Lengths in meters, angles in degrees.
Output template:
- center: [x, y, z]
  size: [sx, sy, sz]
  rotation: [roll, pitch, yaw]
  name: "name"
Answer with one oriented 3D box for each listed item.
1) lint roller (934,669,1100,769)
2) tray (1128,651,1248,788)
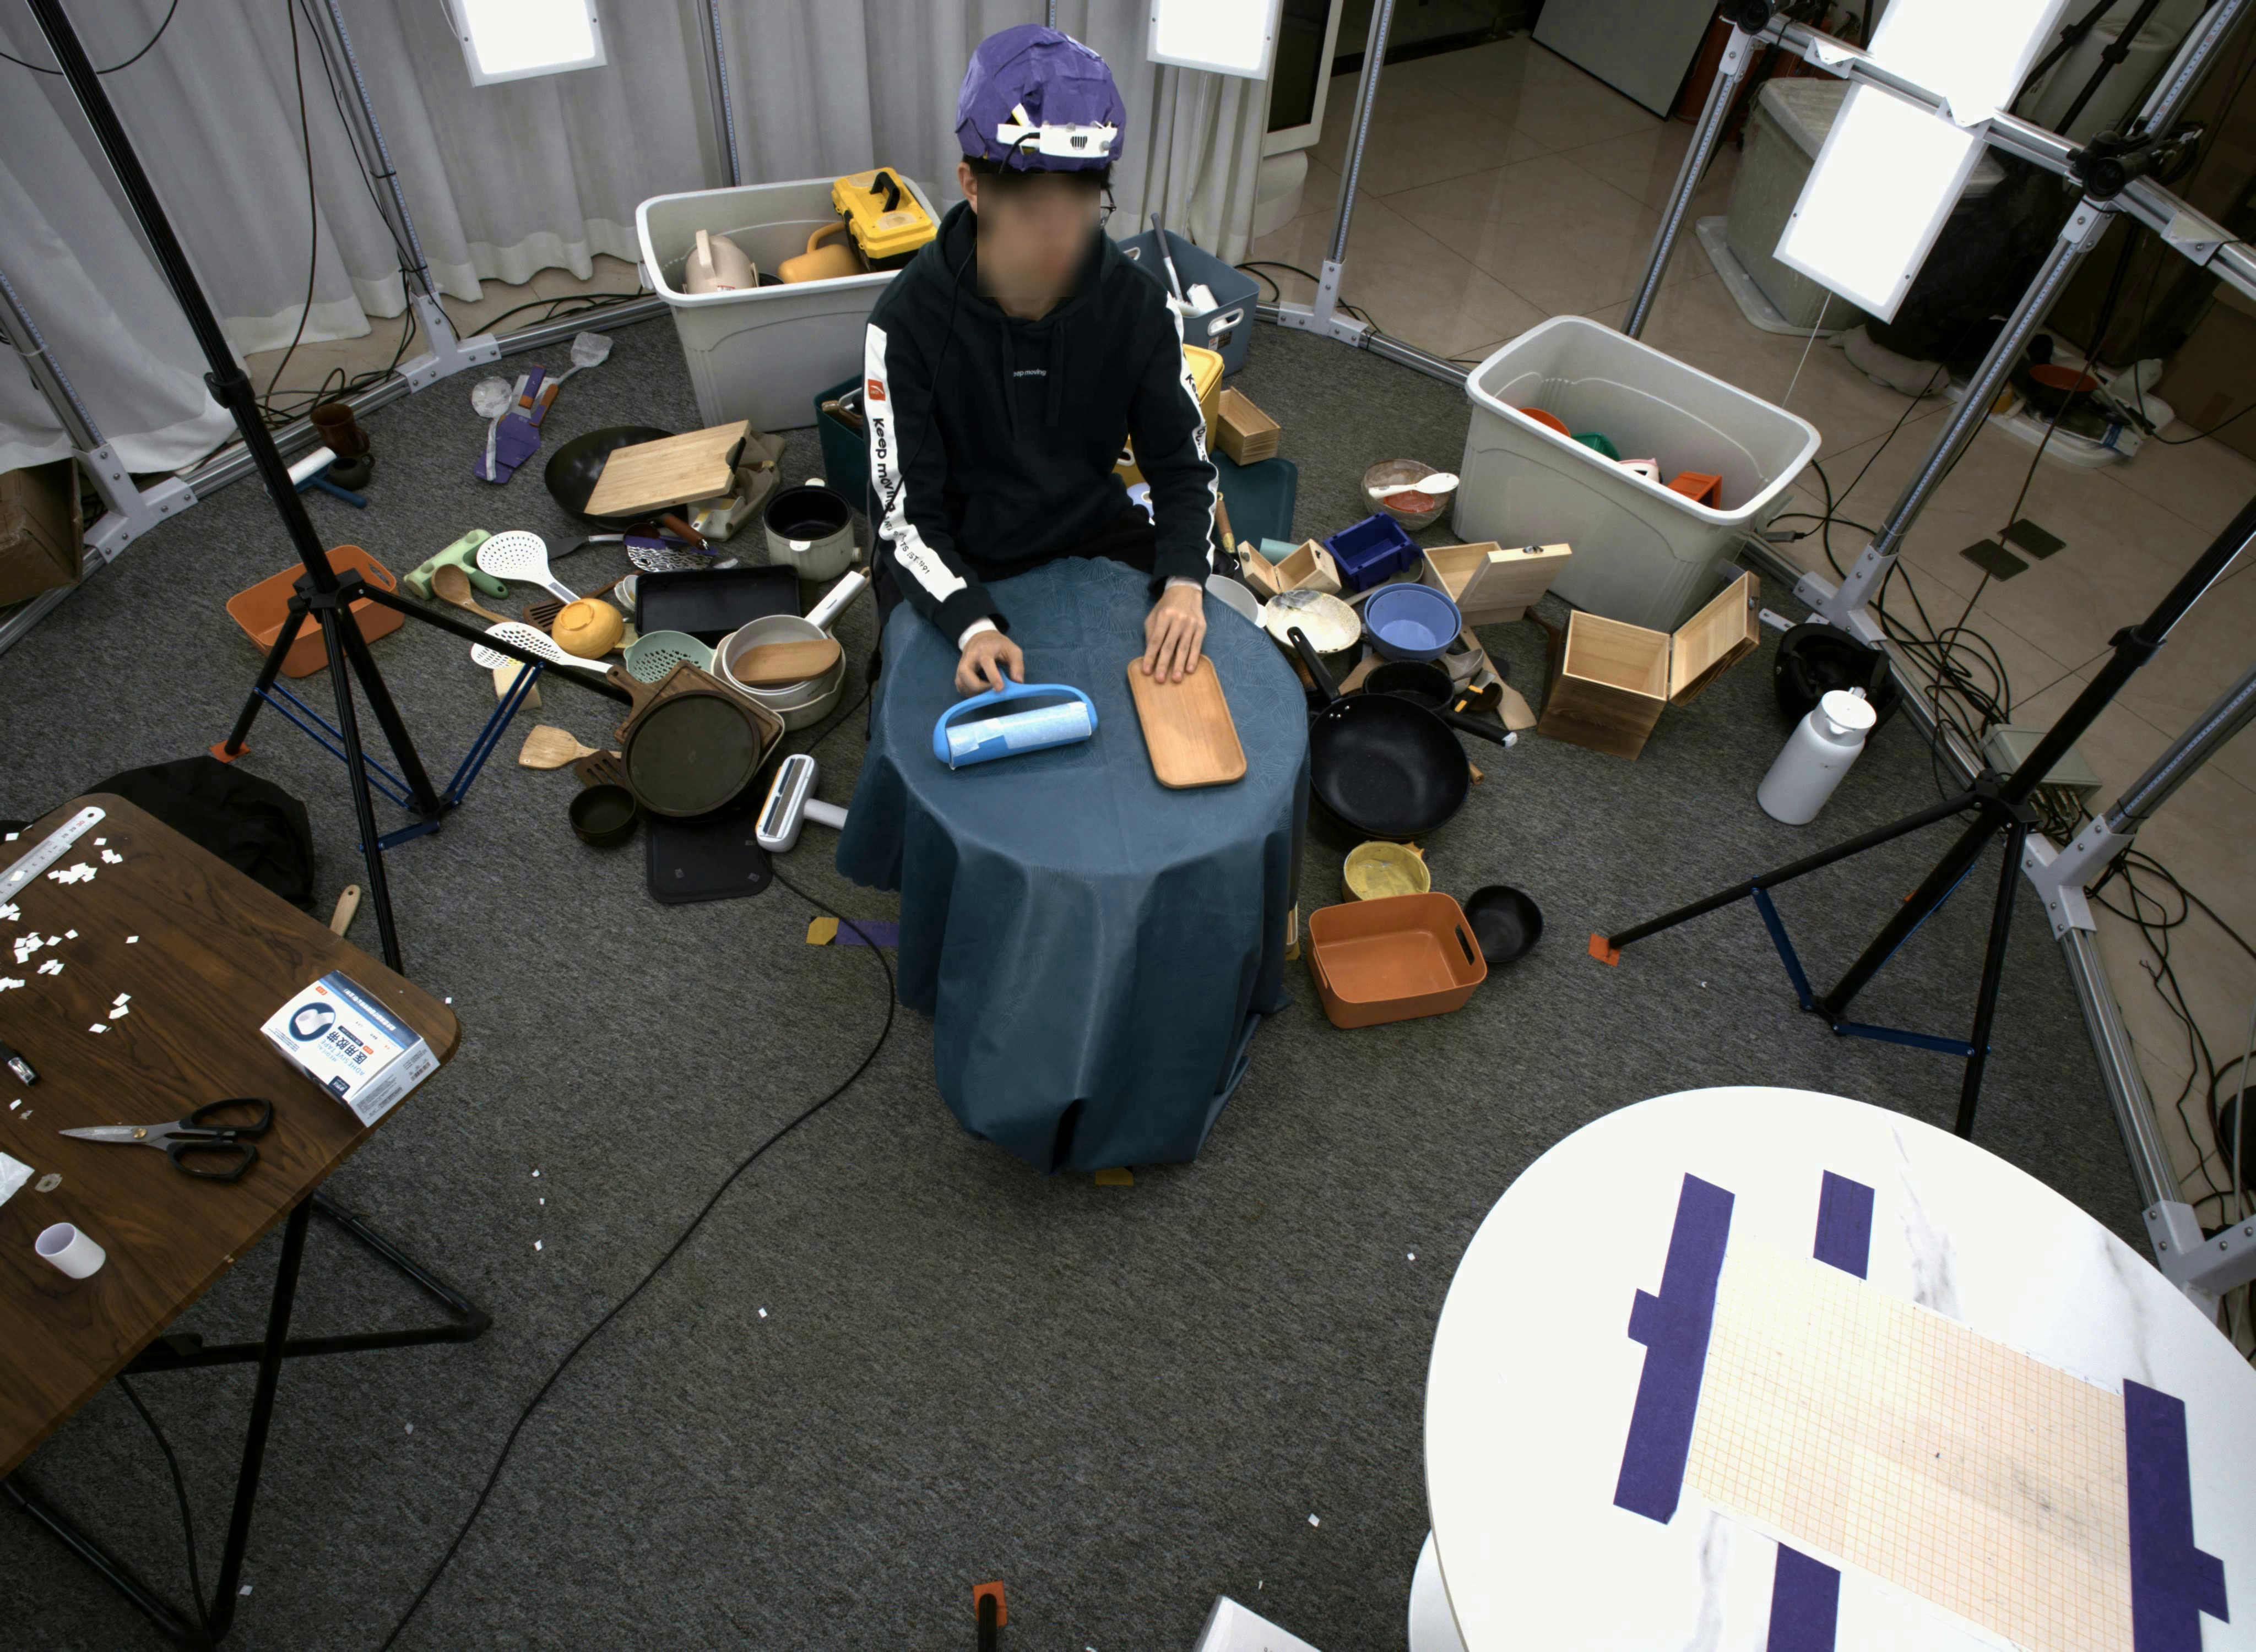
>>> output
- center: [-0.170, -0.168, 1.766]
  size: [0.229, 0.066, 0.184]
  rotation: [-16, 53, -15]
  name: "lint roller"
- center: [0.081, -0.151, 1.793]
  size: [0.130, 0.022, 0.257]
  rotation: [-4, 49, -10]
  name: "tray"
